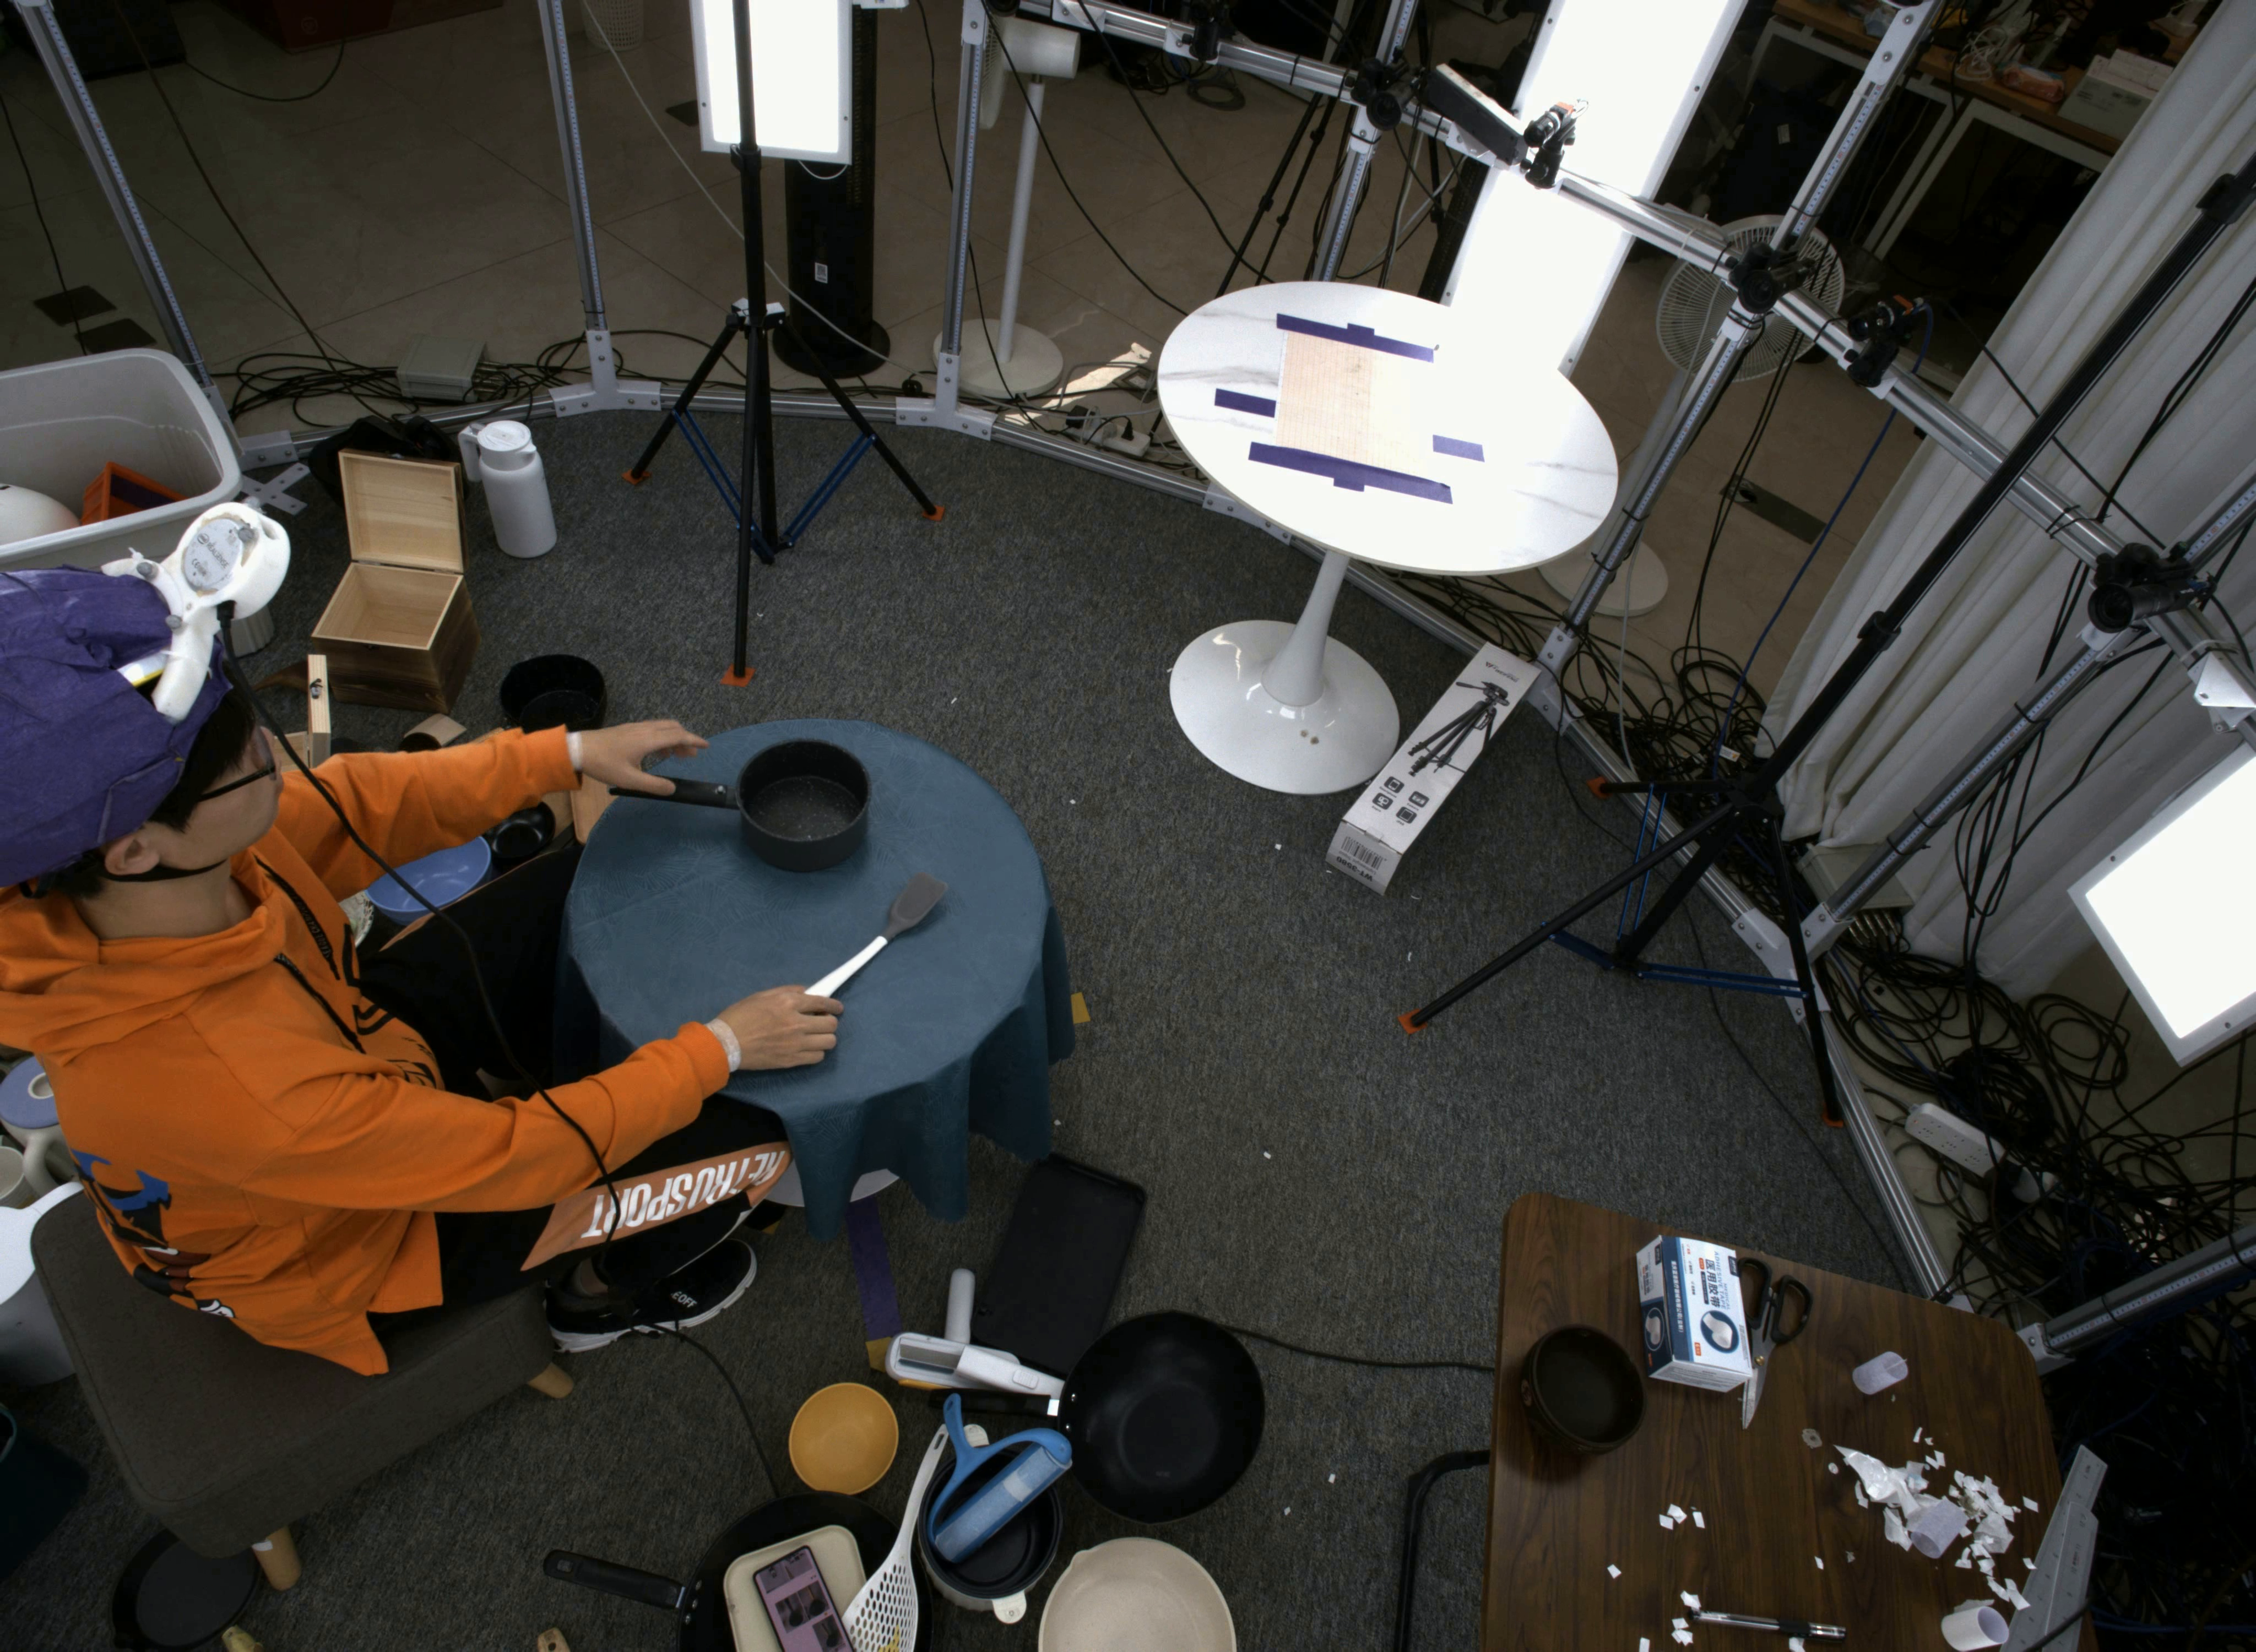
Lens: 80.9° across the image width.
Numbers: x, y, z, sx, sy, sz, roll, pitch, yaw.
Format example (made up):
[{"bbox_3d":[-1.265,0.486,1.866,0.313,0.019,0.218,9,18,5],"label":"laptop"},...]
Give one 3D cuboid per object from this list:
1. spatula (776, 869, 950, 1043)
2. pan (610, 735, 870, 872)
[{"bbox_3d":[-0.325,0.154,1.603,0.057,0.033,0.287,21,50,26],"label":"spatula"},{"bbox_3d":[-0.500,-0.034,1.664,0.329,0.088,0.168,5,52,-14],"label":"pan"}]
